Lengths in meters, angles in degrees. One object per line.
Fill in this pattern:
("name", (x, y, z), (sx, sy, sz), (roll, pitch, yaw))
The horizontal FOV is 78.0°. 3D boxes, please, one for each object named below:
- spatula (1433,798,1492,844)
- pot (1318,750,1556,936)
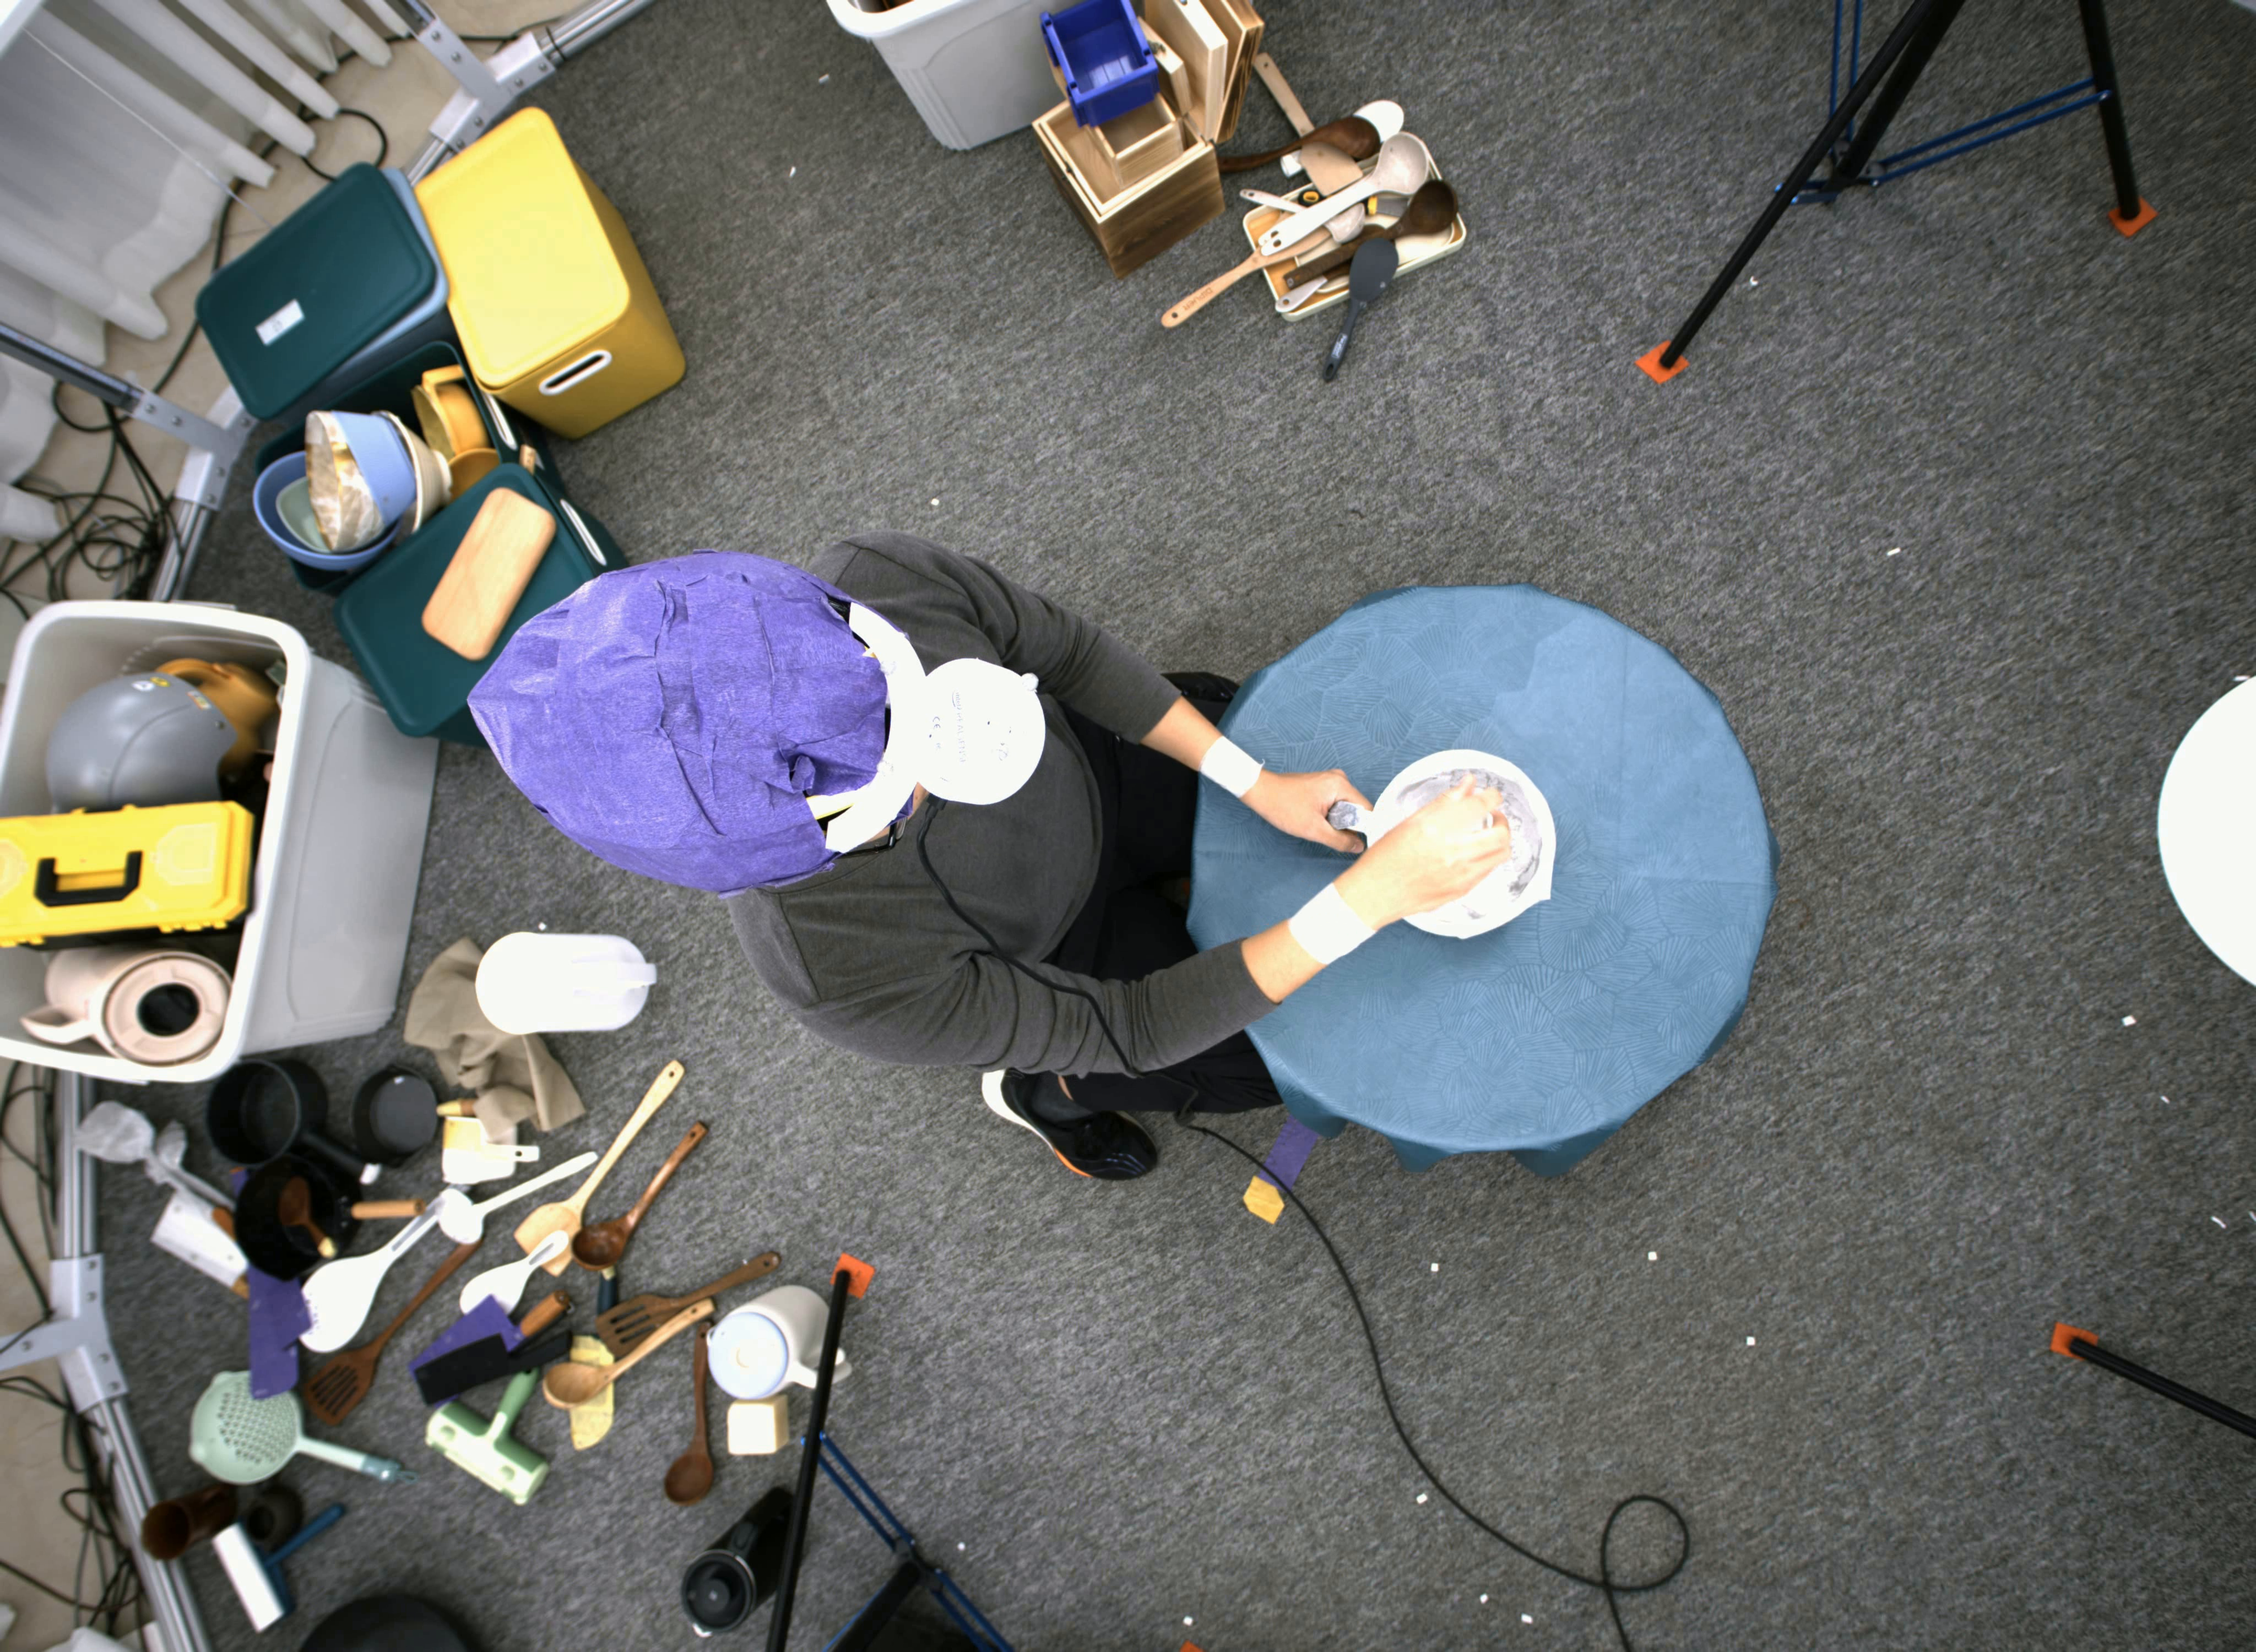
("spatula", (0.306, -0.003, 1.248), (0.059, 0.287, 0.032), (-10, 86, 13))
("pot", (0.304, 0.013, 1.388), (0.234, 0.137, 0.178), (13, 88, 11))
